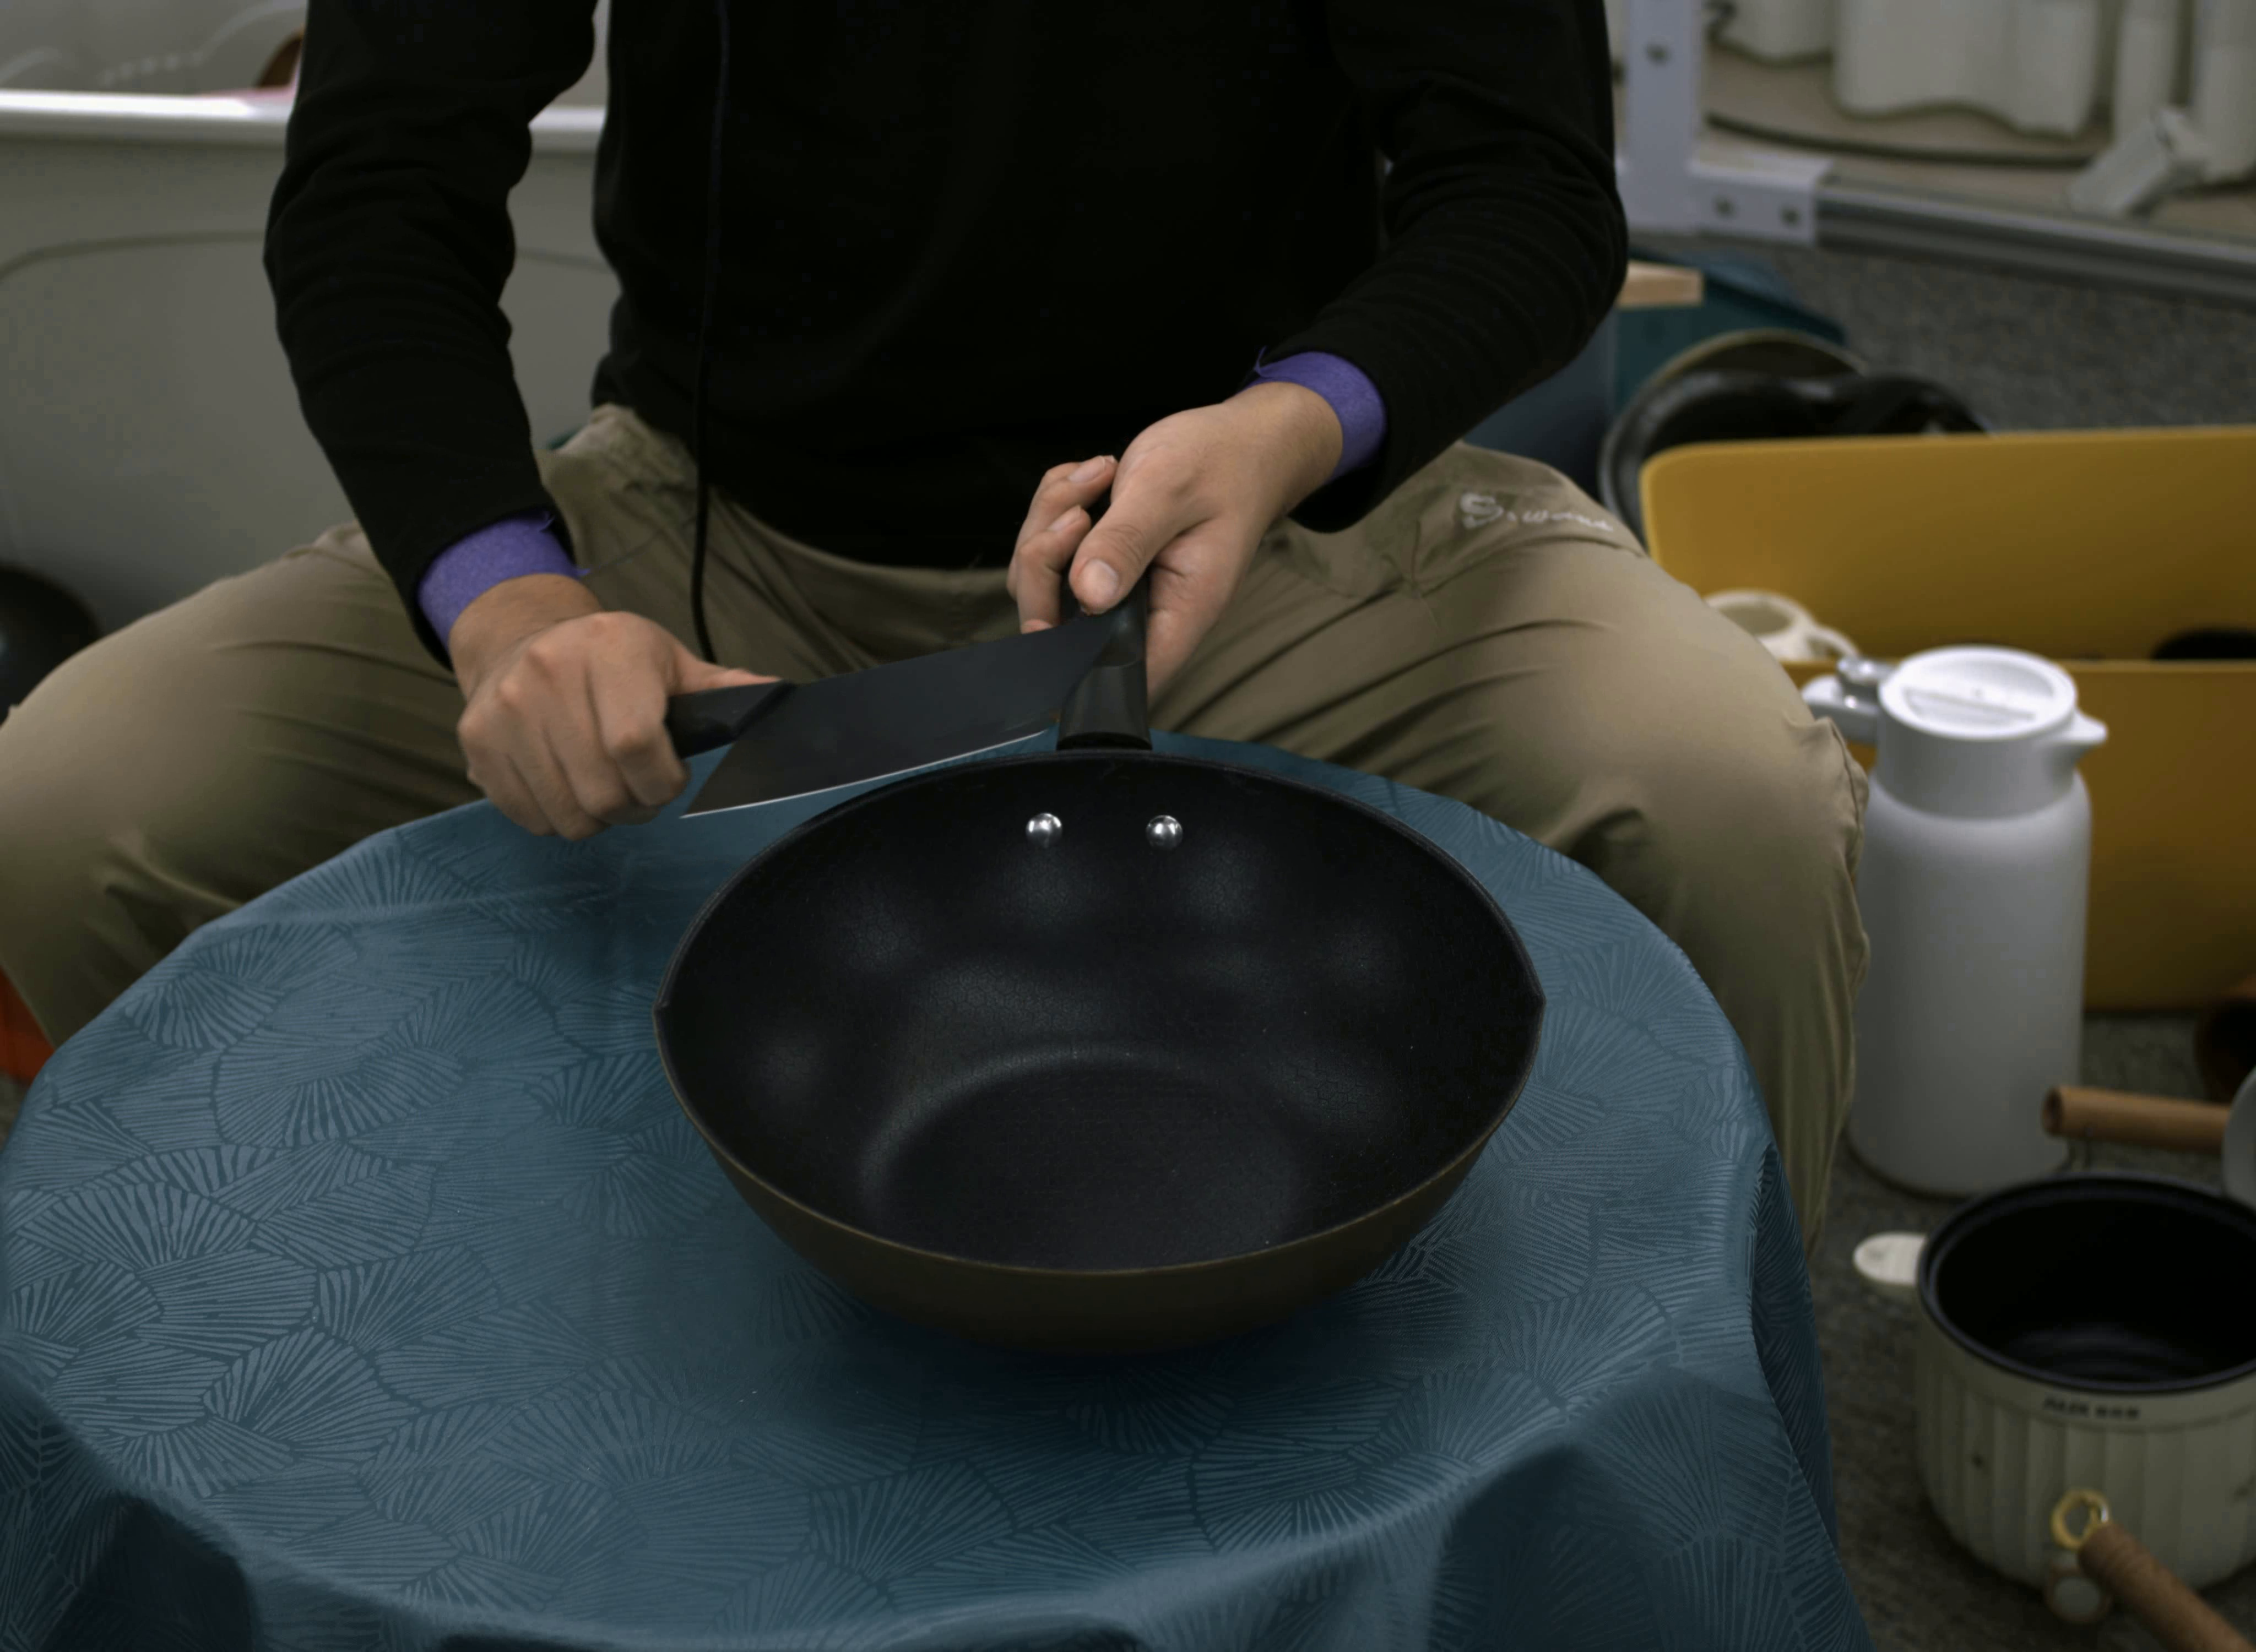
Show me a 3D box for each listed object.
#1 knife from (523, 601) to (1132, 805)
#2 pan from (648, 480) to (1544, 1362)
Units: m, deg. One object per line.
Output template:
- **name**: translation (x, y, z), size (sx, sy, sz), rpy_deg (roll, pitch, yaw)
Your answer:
- **knife**: translation (-0.112, -0.034, 1.930), size (0.299, 0.021, 0.082), rpy_deg (-8, 37, 48)
- **pan**: translation (-0.009, 0.035, 1.896), size (0.287, 0.085, 0.472), rpy_deg (0, 34, 0)
